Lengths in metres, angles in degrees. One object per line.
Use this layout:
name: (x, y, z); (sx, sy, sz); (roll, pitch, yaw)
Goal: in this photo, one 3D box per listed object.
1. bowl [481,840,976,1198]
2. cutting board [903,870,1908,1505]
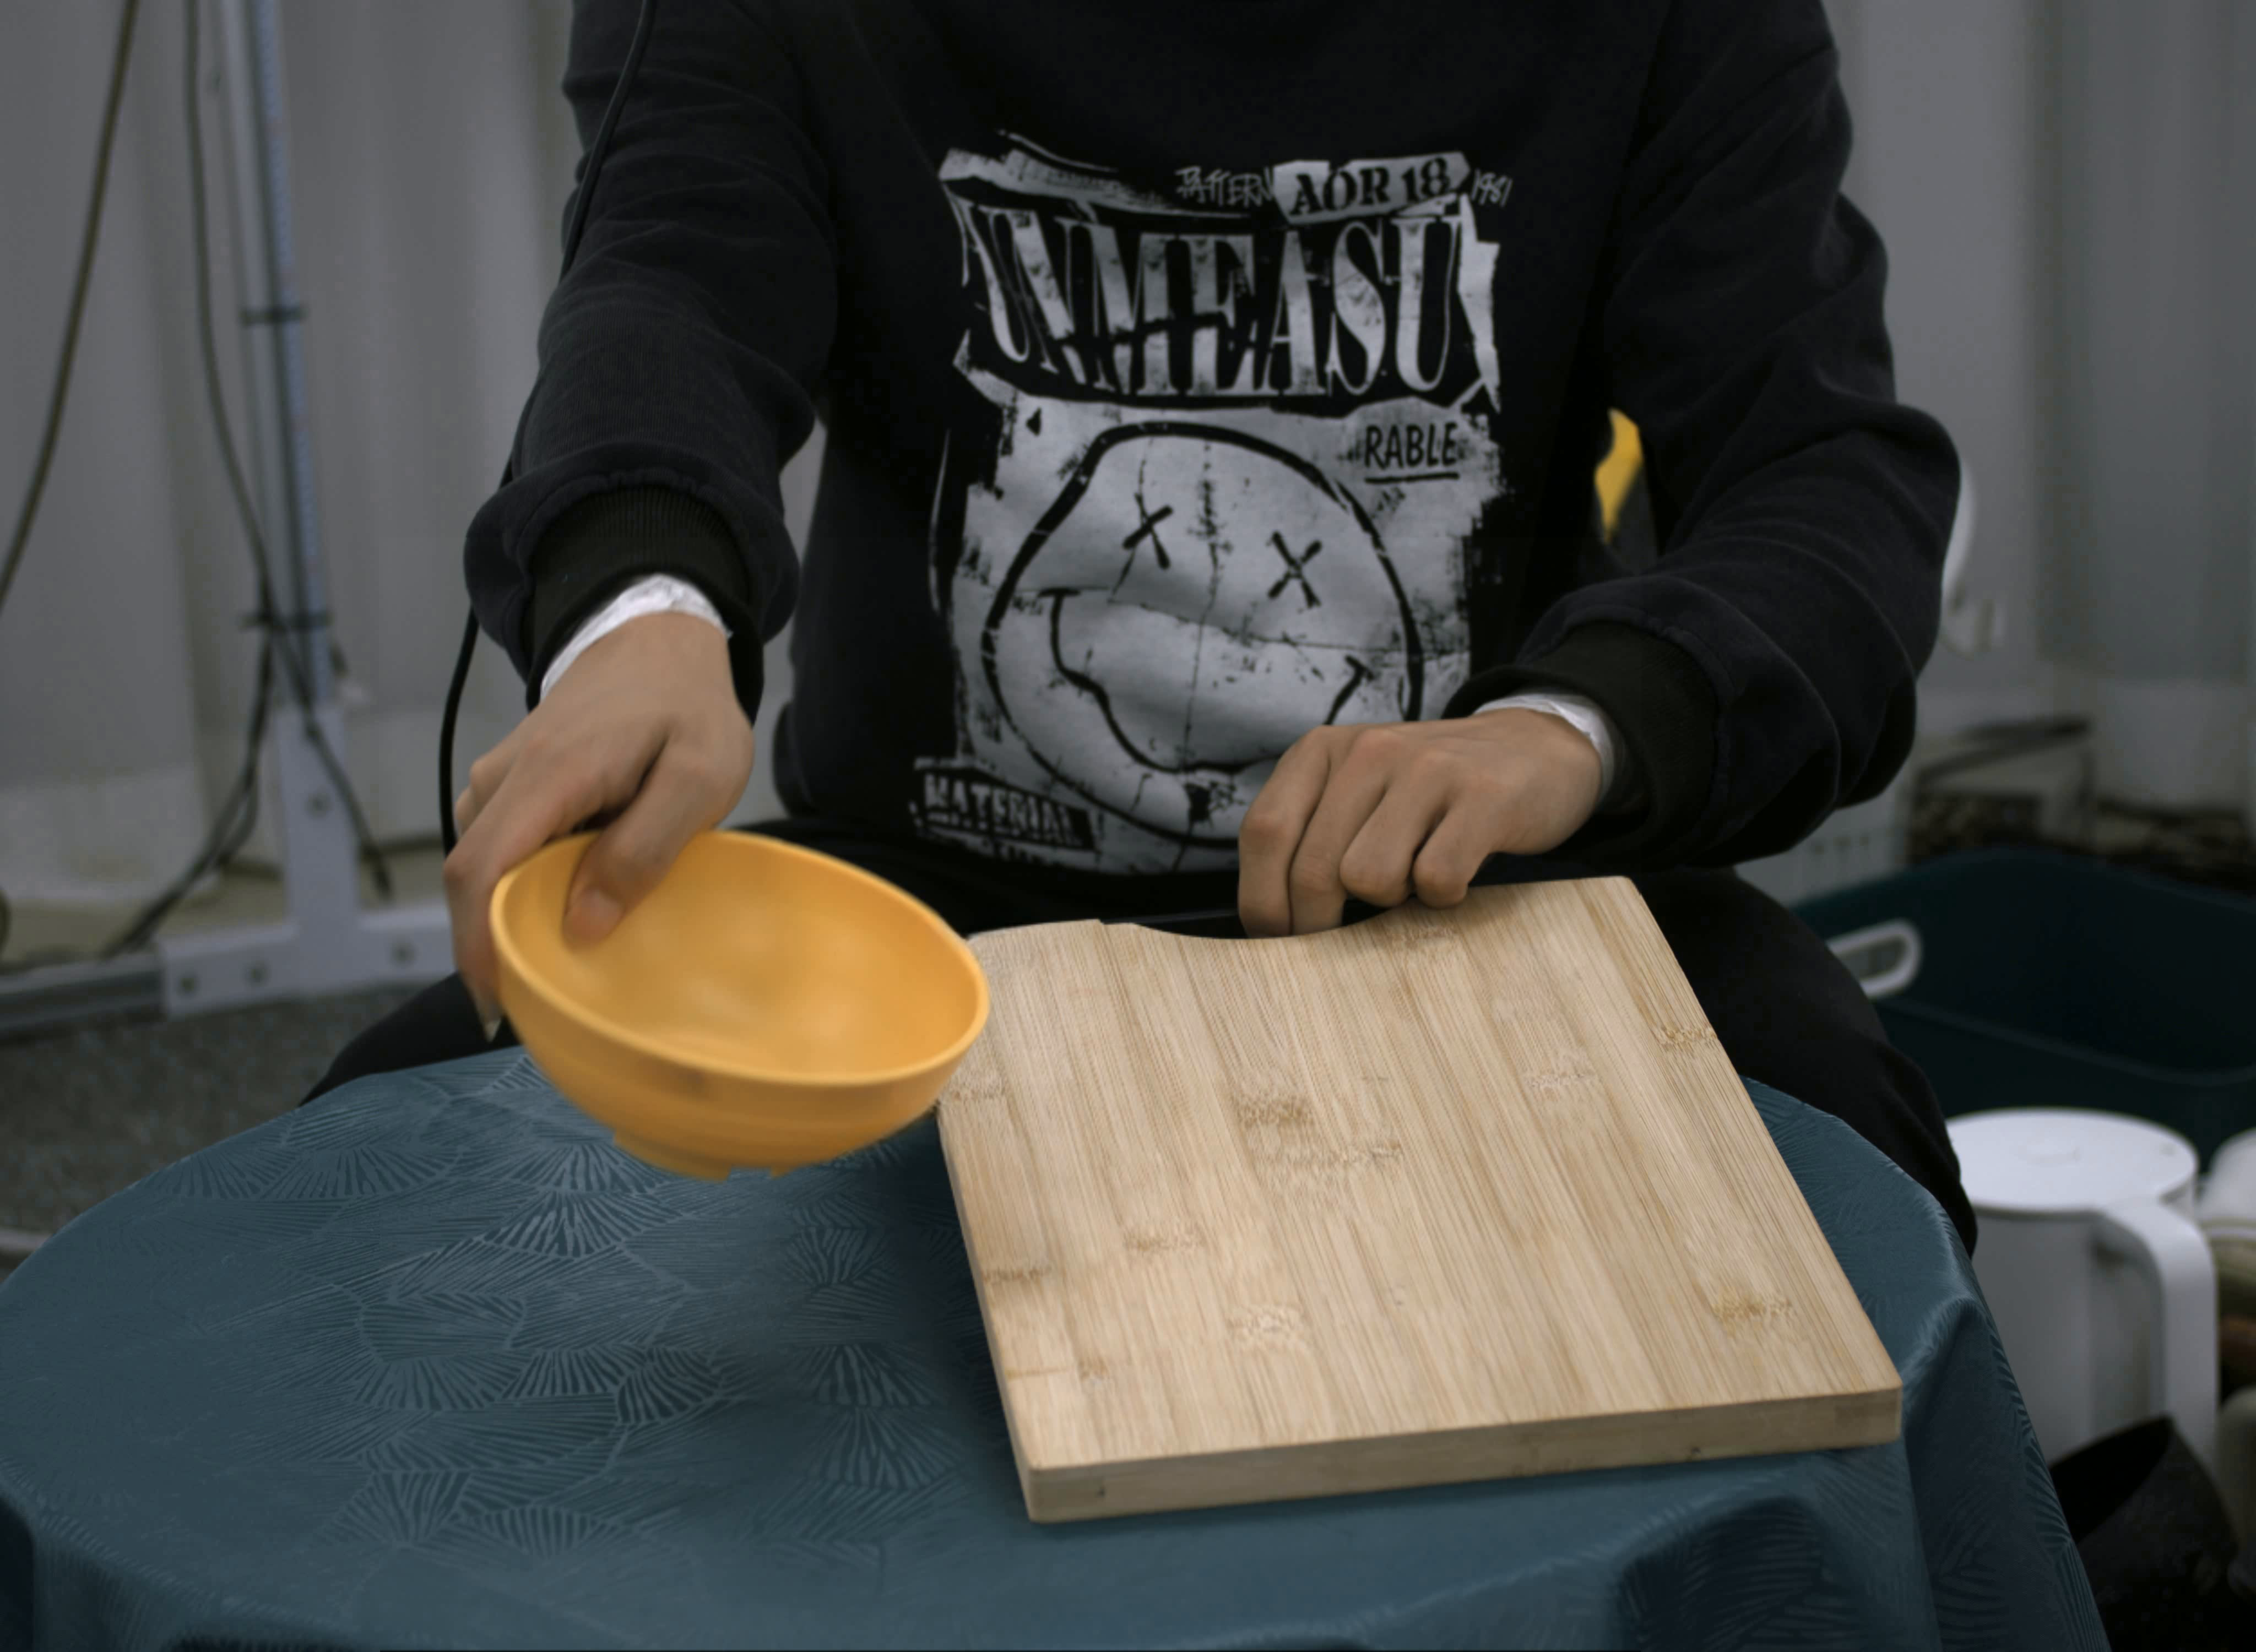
bowl: (-0.120, 0.064, 1.565); (0.144, 0.060, 0.147); (13, 24, -6)
cutting board: (0.069, 0.100, 1.622); (0.249, 0.023, 0.352); (-5, 24, -8)
